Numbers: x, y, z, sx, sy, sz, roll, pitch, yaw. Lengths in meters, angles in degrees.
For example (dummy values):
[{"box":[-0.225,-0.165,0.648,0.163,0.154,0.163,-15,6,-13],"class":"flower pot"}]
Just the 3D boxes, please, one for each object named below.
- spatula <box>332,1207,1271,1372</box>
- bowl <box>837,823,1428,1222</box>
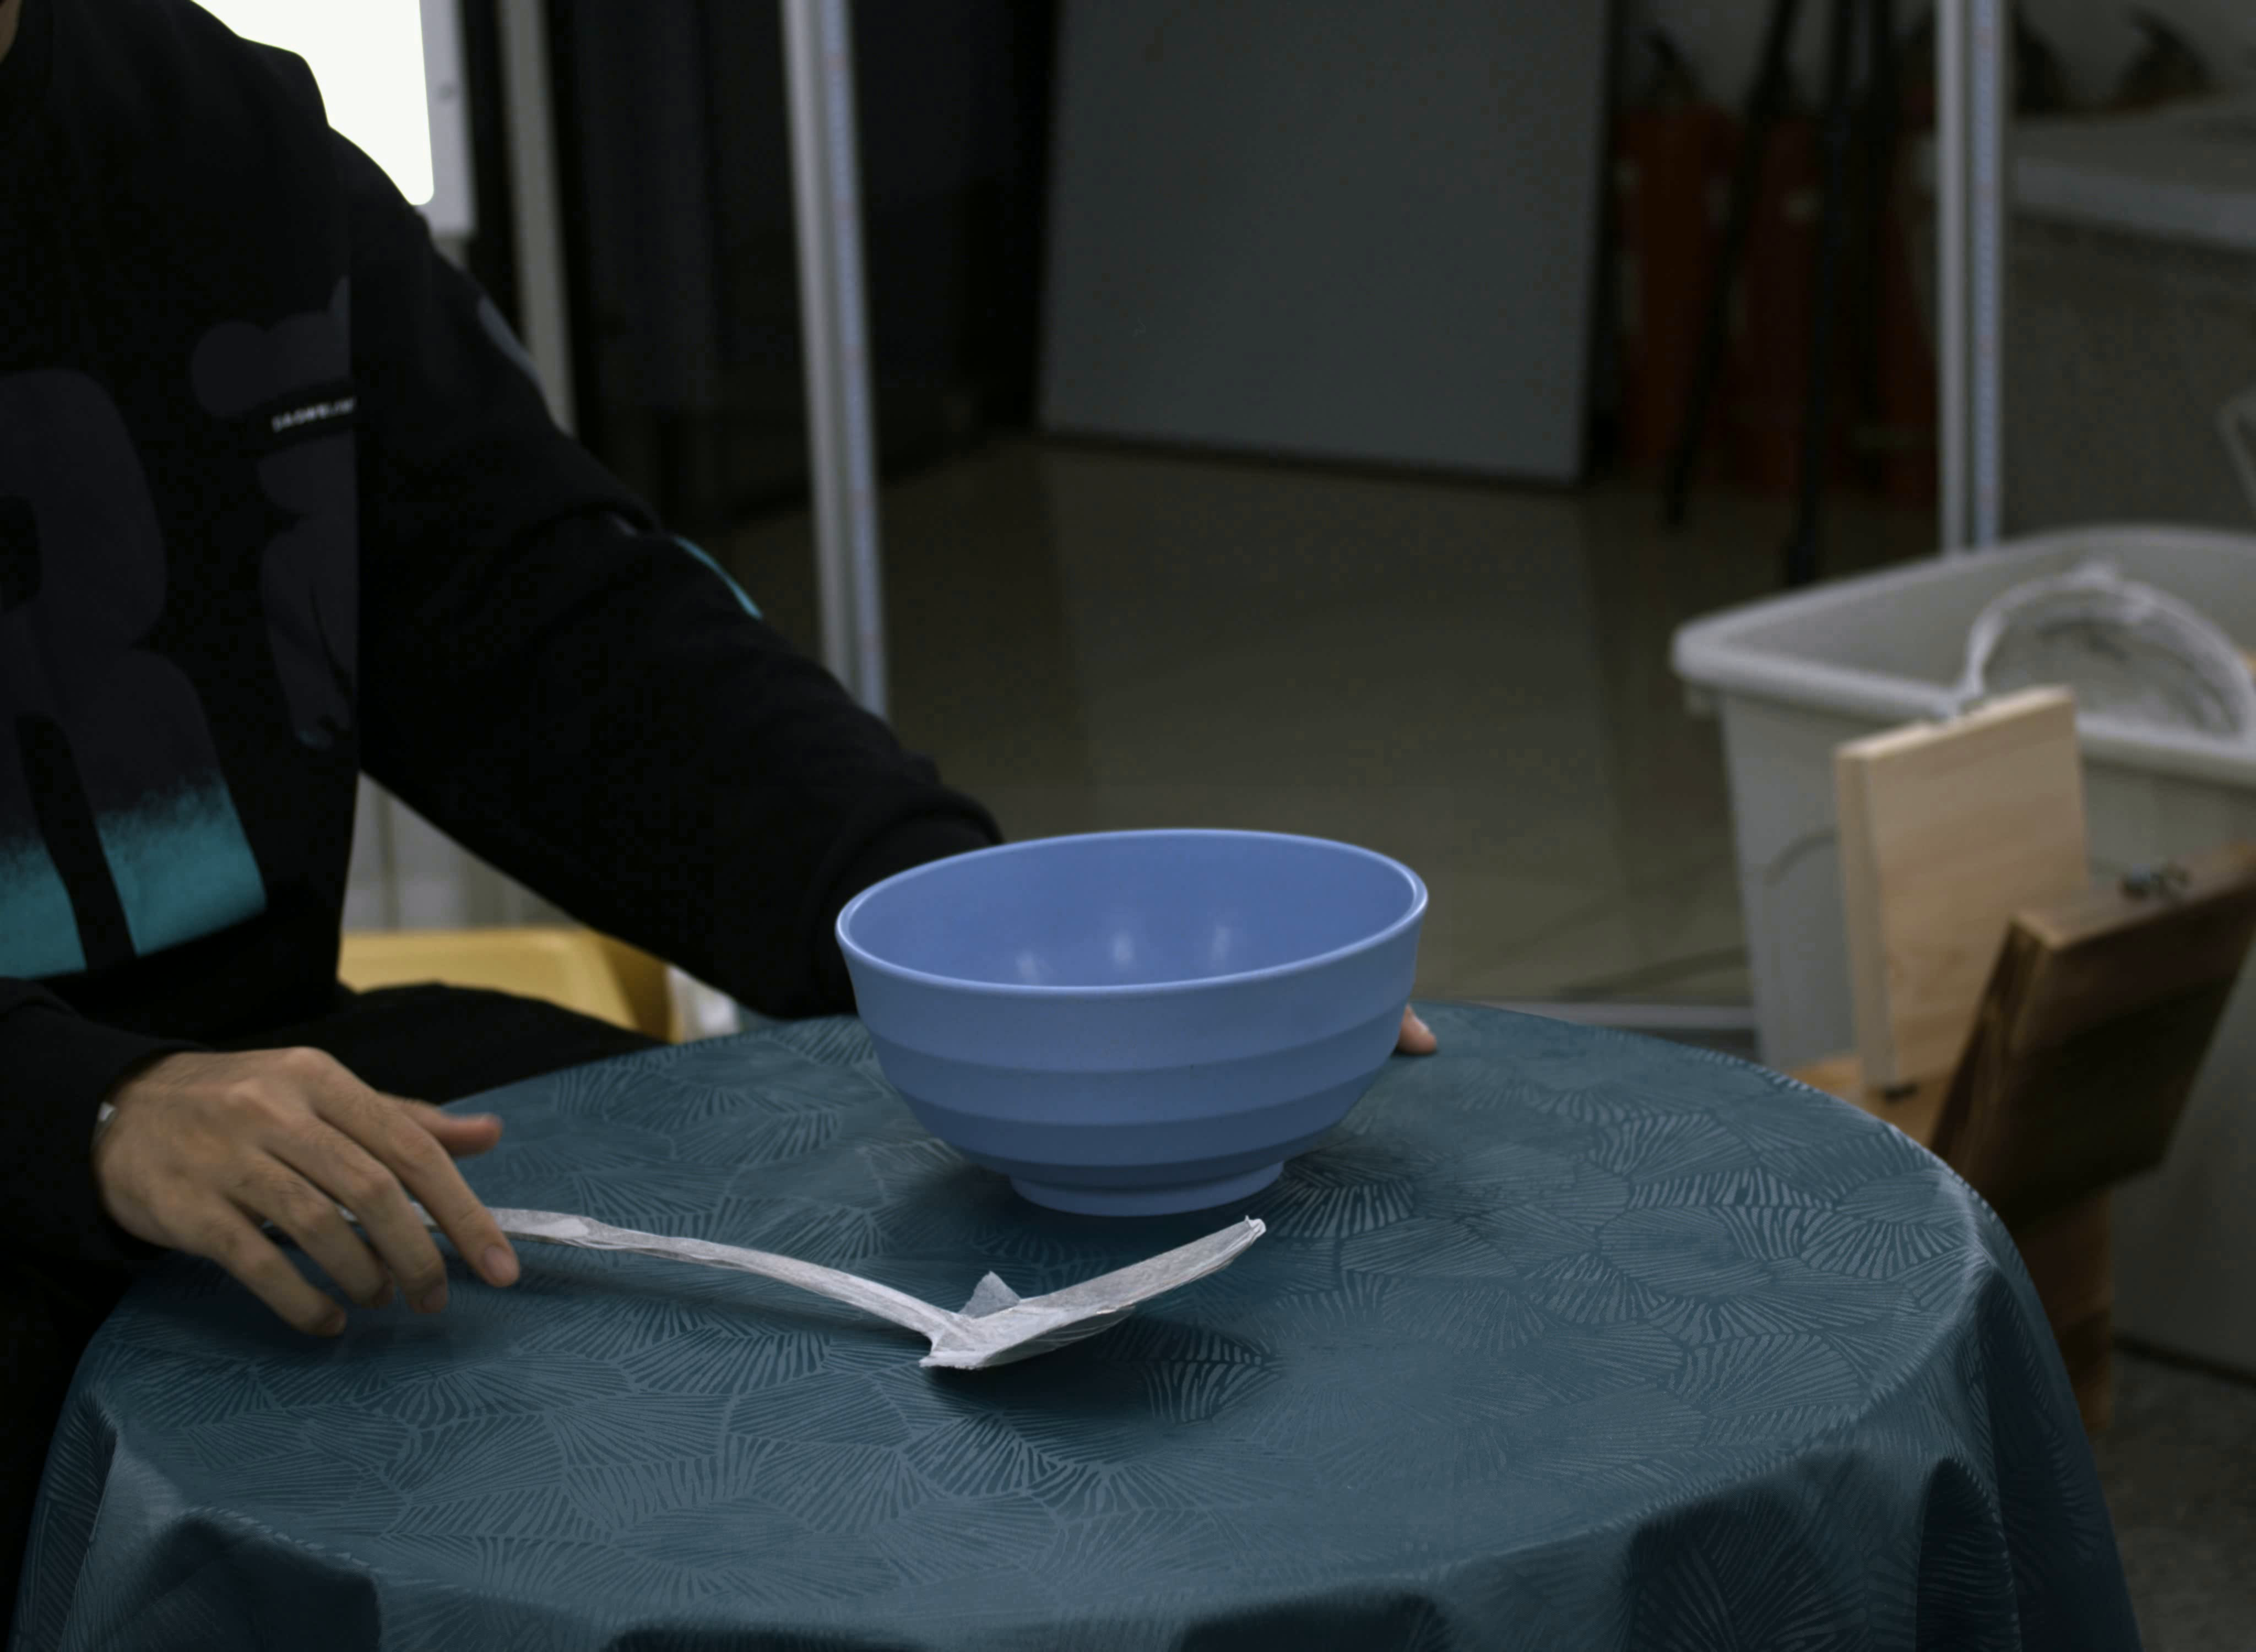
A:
[{"box":[-0.120,0.132,1.684,0.367,0.045,0.097,6,19,34],"class":"spatula"},{"box":[0.004,0.070,1.776,0.194,0.096,0.197,-3,15,0],"class":"bowl"}]
